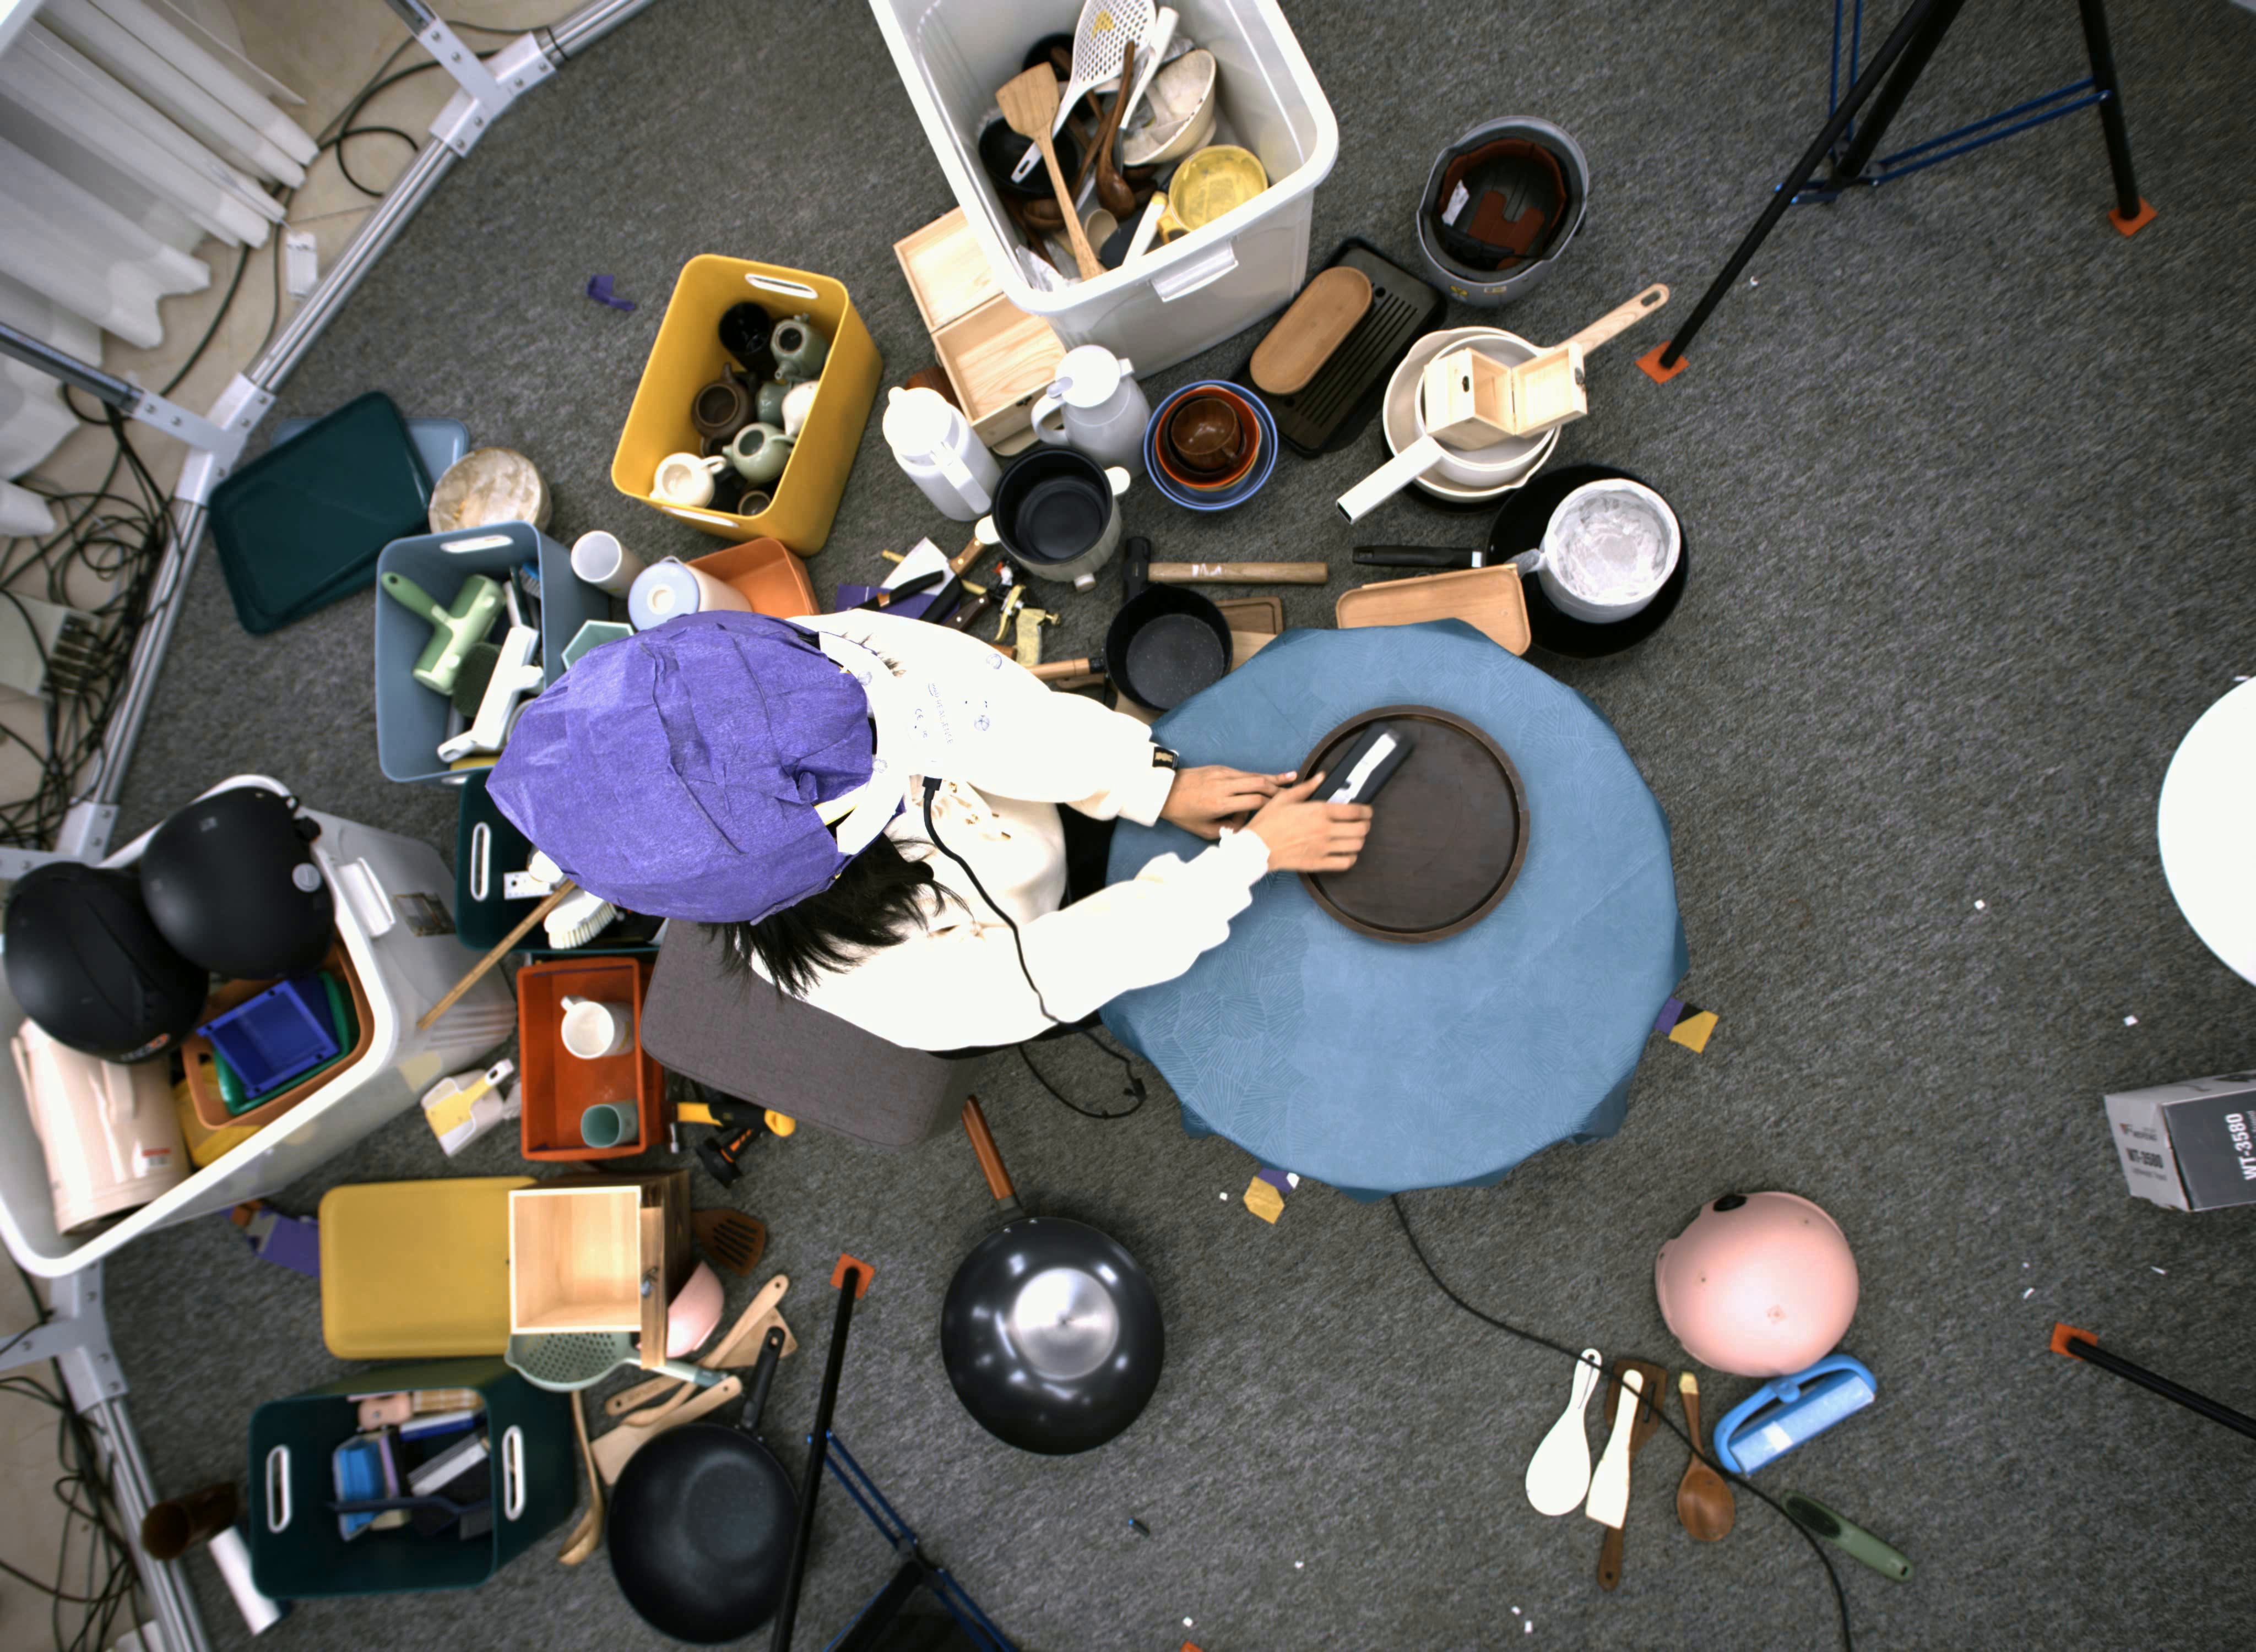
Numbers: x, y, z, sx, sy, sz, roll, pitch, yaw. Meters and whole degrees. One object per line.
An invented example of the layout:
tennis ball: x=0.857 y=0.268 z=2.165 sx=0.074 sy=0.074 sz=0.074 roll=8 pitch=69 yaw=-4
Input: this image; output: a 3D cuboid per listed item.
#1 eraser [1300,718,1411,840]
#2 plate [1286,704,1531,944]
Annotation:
eraser: x=0.239 y=-0.050 z=1.446 sx=0.053 sy=0.030 sz=0.126 roll=38 pitch=95 yaw=12
plate: x=0.293 y=-0.004 z=1.448 sx=0.256 sy=0.029 sz=0.253 roll=-1 pitch=87 yaw=9
